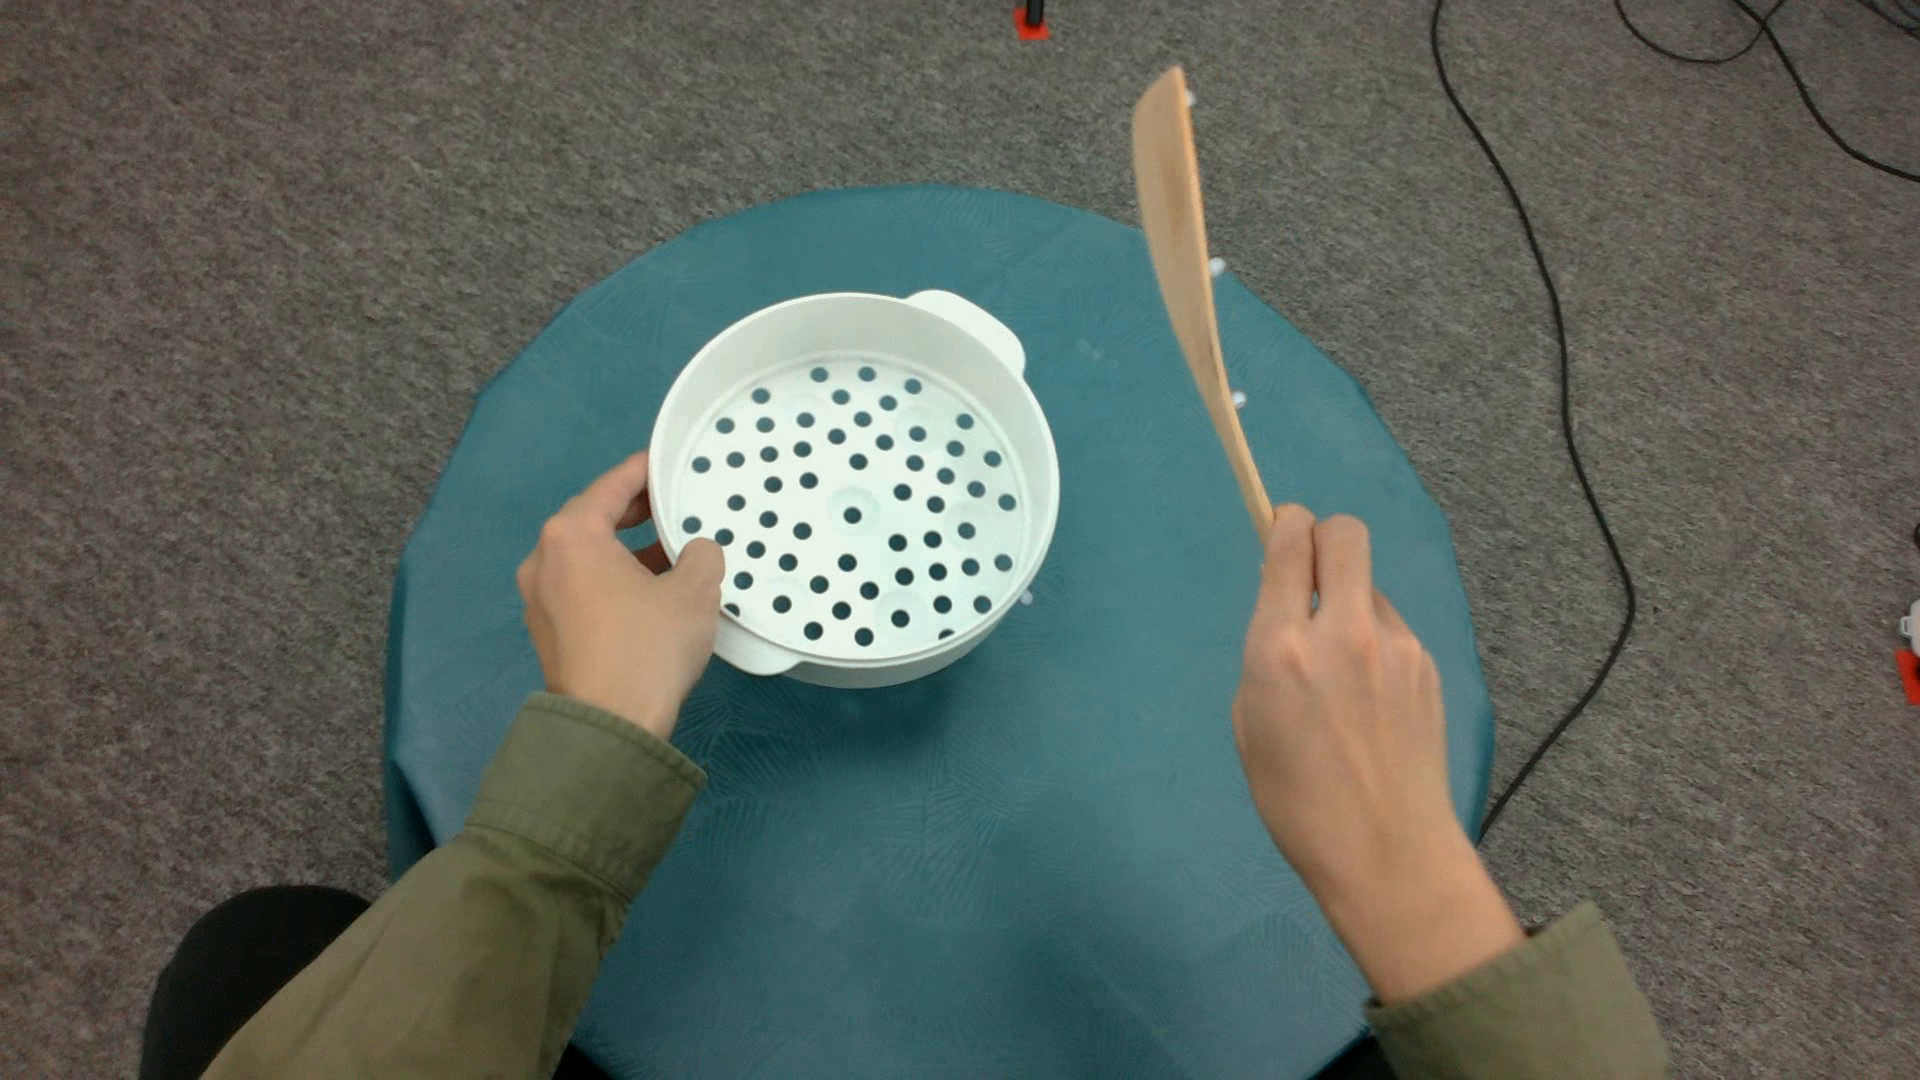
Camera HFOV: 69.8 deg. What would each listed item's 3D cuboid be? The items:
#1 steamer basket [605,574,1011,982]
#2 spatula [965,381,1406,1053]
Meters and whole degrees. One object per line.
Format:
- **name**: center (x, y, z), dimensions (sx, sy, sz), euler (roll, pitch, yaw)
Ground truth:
- **steamer basket**: center (-0.076, 0.124, 0.711), dimensions (0.202, 0.069, 0.231), euler (25, 58, 12)
- **spatula**: center (0.087, 0.066, 0.580), dimensions (0.016, 0.079, 0.328), euler (-30, 74, -13)
